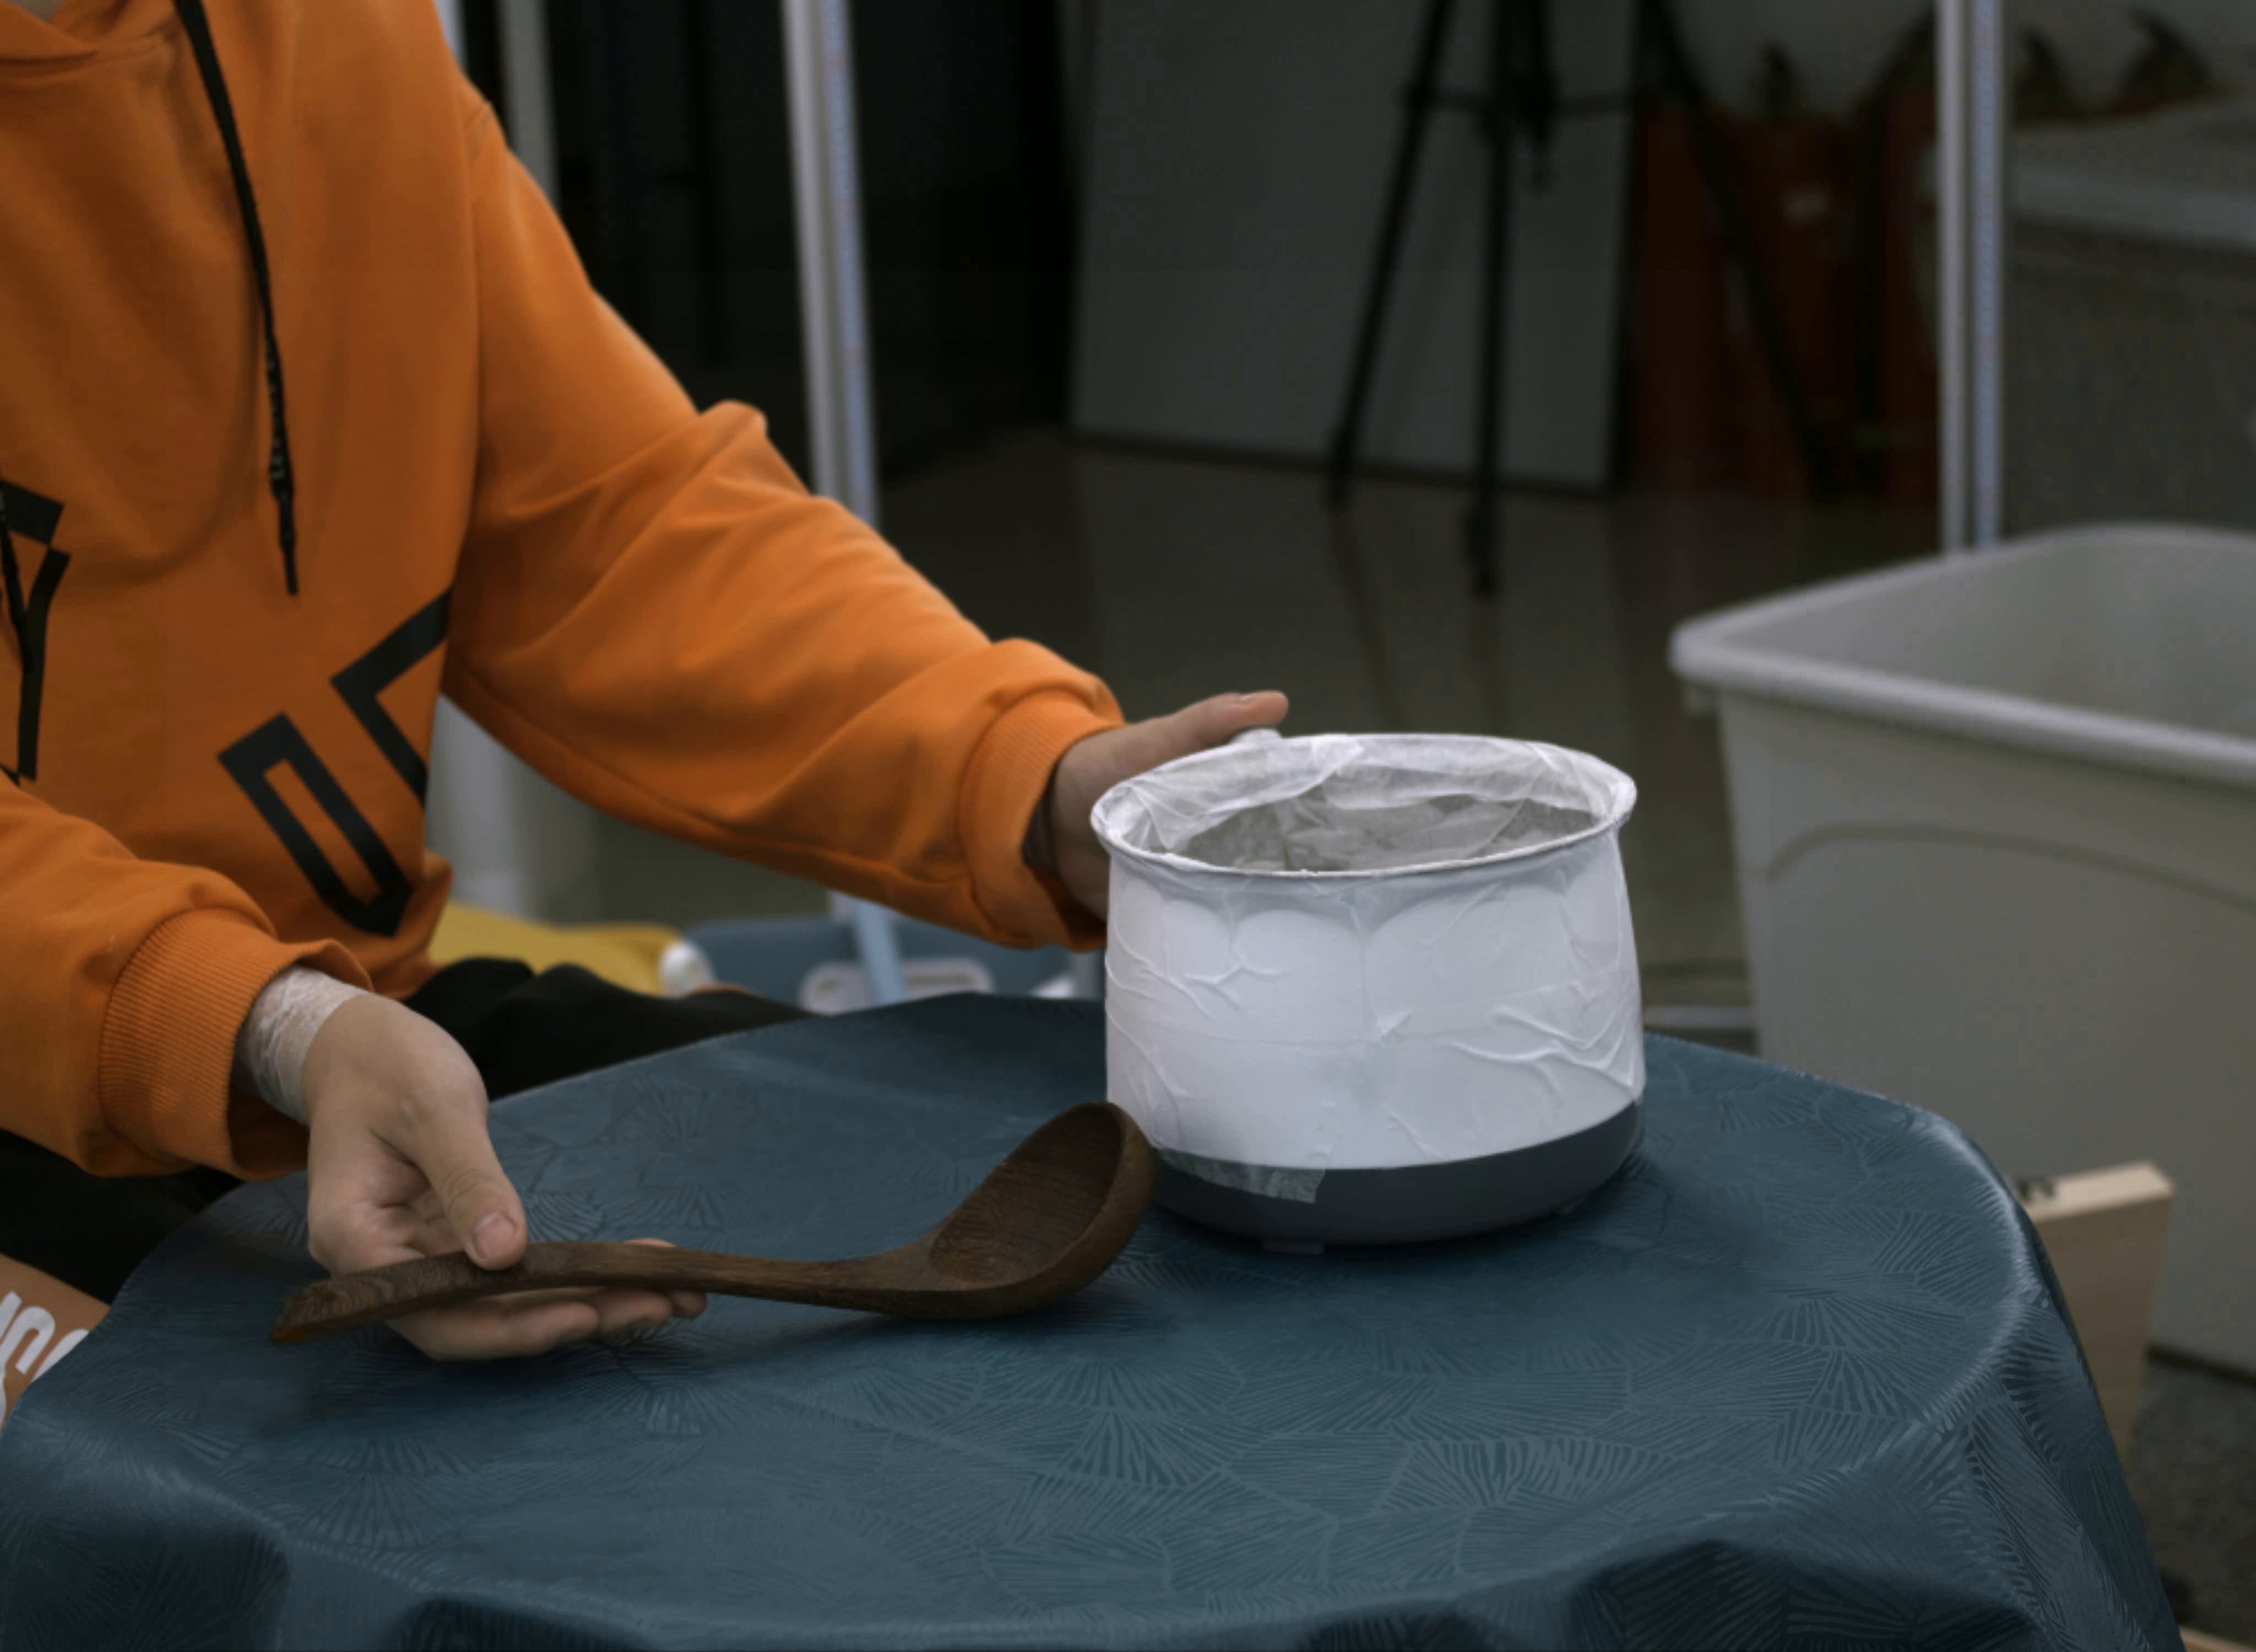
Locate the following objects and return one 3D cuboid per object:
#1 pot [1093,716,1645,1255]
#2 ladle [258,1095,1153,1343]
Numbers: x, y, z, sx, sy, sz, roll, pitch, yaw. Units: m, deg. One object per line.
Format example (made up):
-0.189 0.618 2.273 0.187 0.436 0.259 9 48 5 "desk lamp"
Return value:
0.069 0.046 1.765 0.175 0.138 0.236 -8 14 -18 "pot"
-0.125 0.118 1.635 0.268 0.072 0.076 0 14 -15 "ladle"
